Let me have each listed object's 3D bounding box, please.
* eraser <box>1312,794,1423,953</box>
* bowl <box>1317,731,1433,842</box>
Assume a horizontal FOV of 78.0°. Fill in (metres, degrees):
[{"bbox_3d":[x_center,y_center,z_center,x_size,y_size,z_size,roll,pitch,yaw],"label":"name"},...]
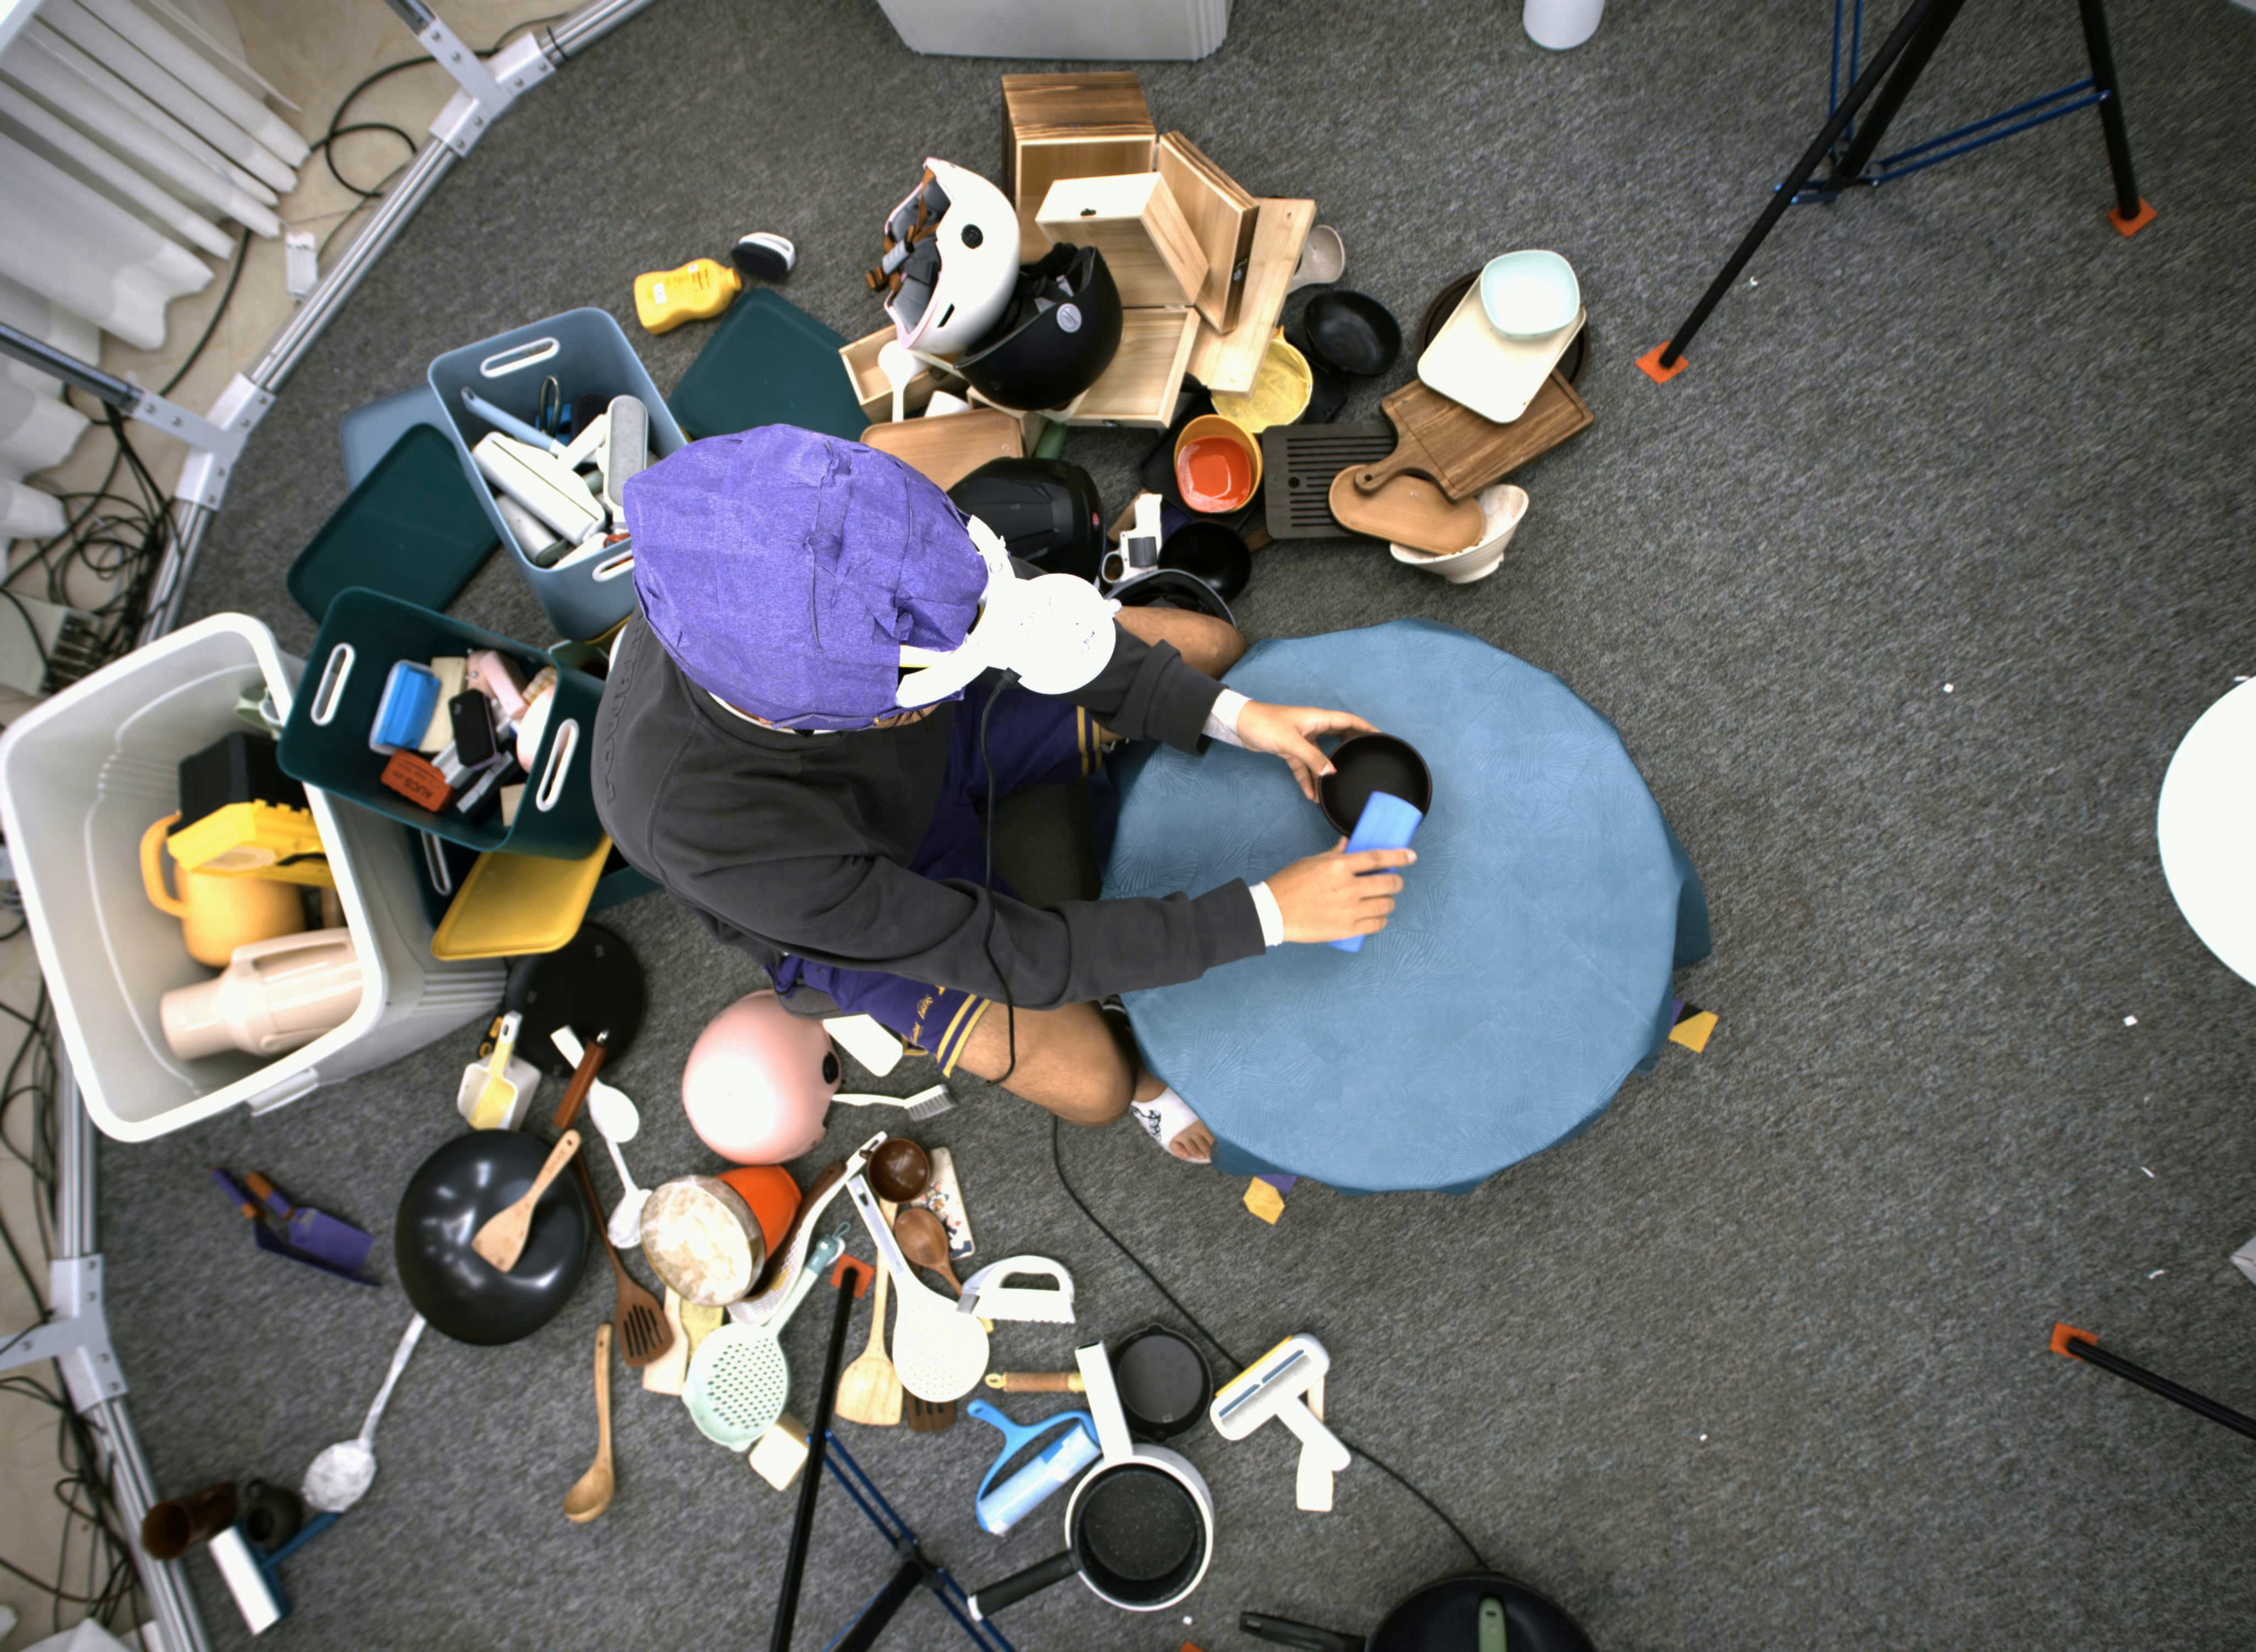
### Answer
[{"bbox_3d":[0.238,0.047,1.376,0.054,0.047,0.163,26,95,10],"label":"eraser"},{"bbox_3d":[0.257,-0.038,1.430,0.118,0.070,0.117,-1,86,12],"label":"bowl"}]
